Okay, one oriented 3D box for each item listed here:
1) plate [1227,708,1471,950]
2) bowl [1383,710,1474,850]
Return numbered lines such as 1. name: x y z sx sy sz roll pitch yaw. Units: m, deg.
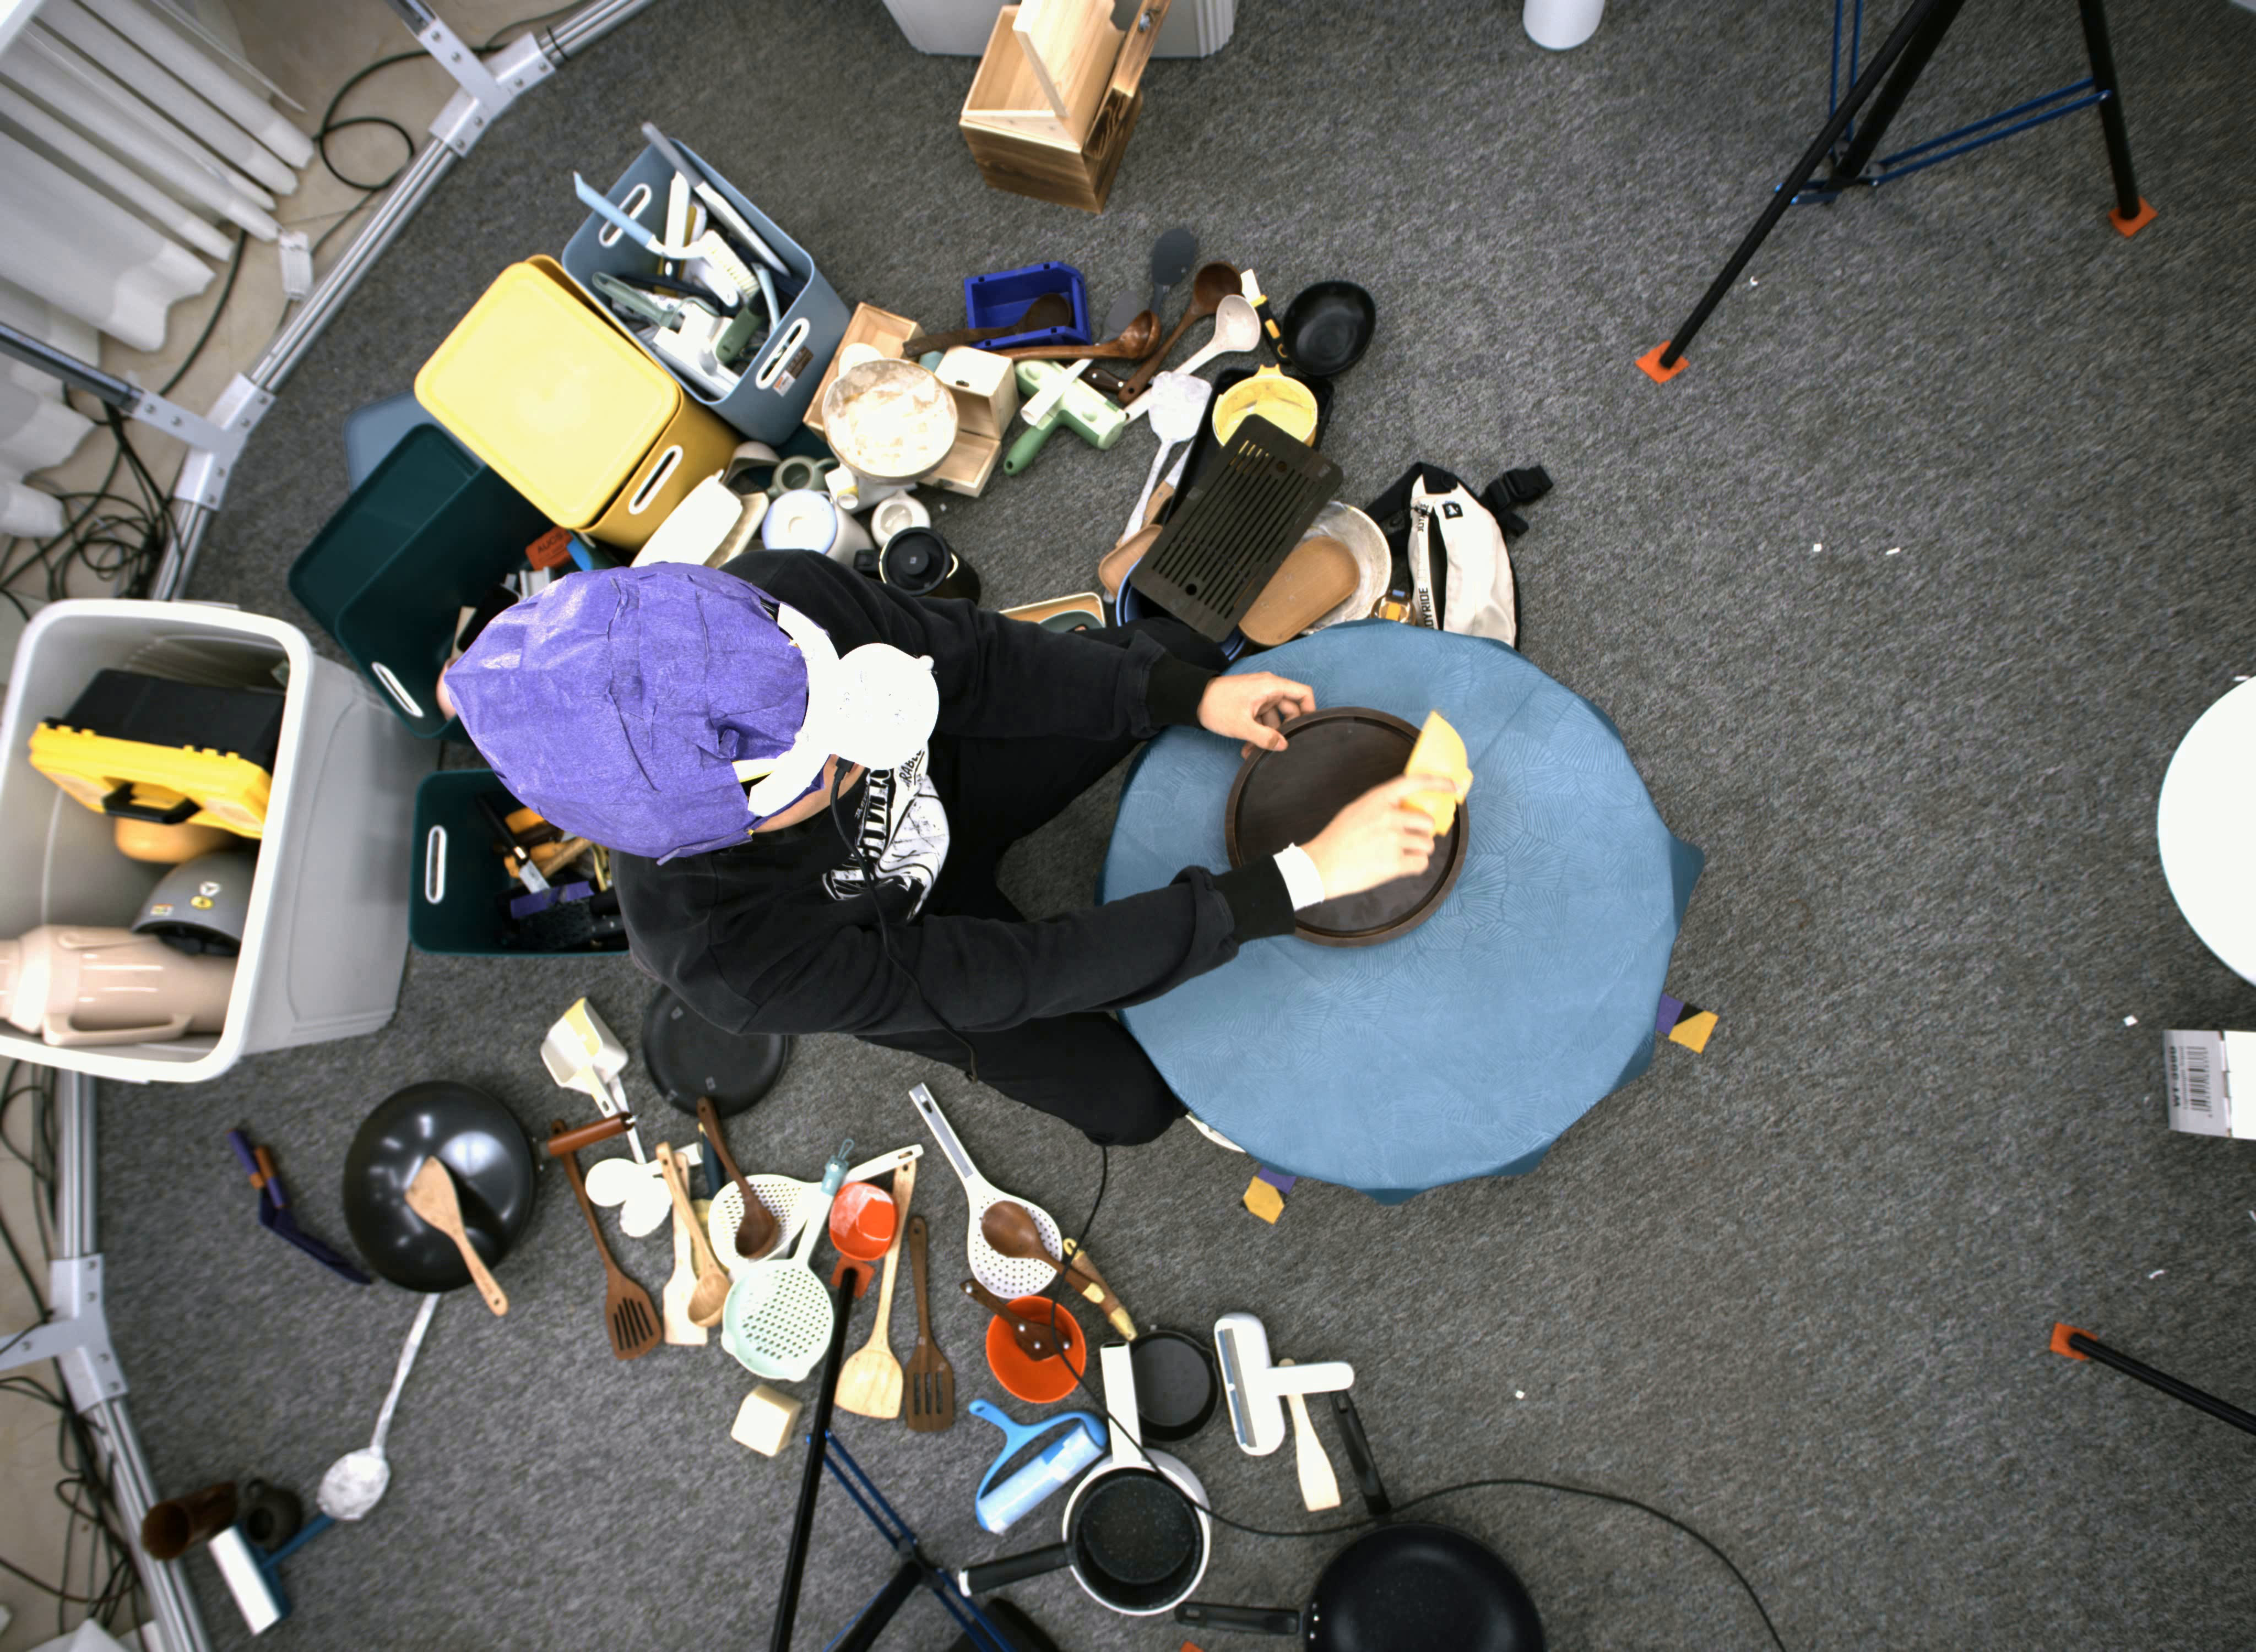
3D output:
1. plate: 0.229 0.003 1.442 0.255 0.029 0.256 1 100 8
2. bowl: 0.299 -0.038 1.343 0.060 0.145 0.145 20 88 12
